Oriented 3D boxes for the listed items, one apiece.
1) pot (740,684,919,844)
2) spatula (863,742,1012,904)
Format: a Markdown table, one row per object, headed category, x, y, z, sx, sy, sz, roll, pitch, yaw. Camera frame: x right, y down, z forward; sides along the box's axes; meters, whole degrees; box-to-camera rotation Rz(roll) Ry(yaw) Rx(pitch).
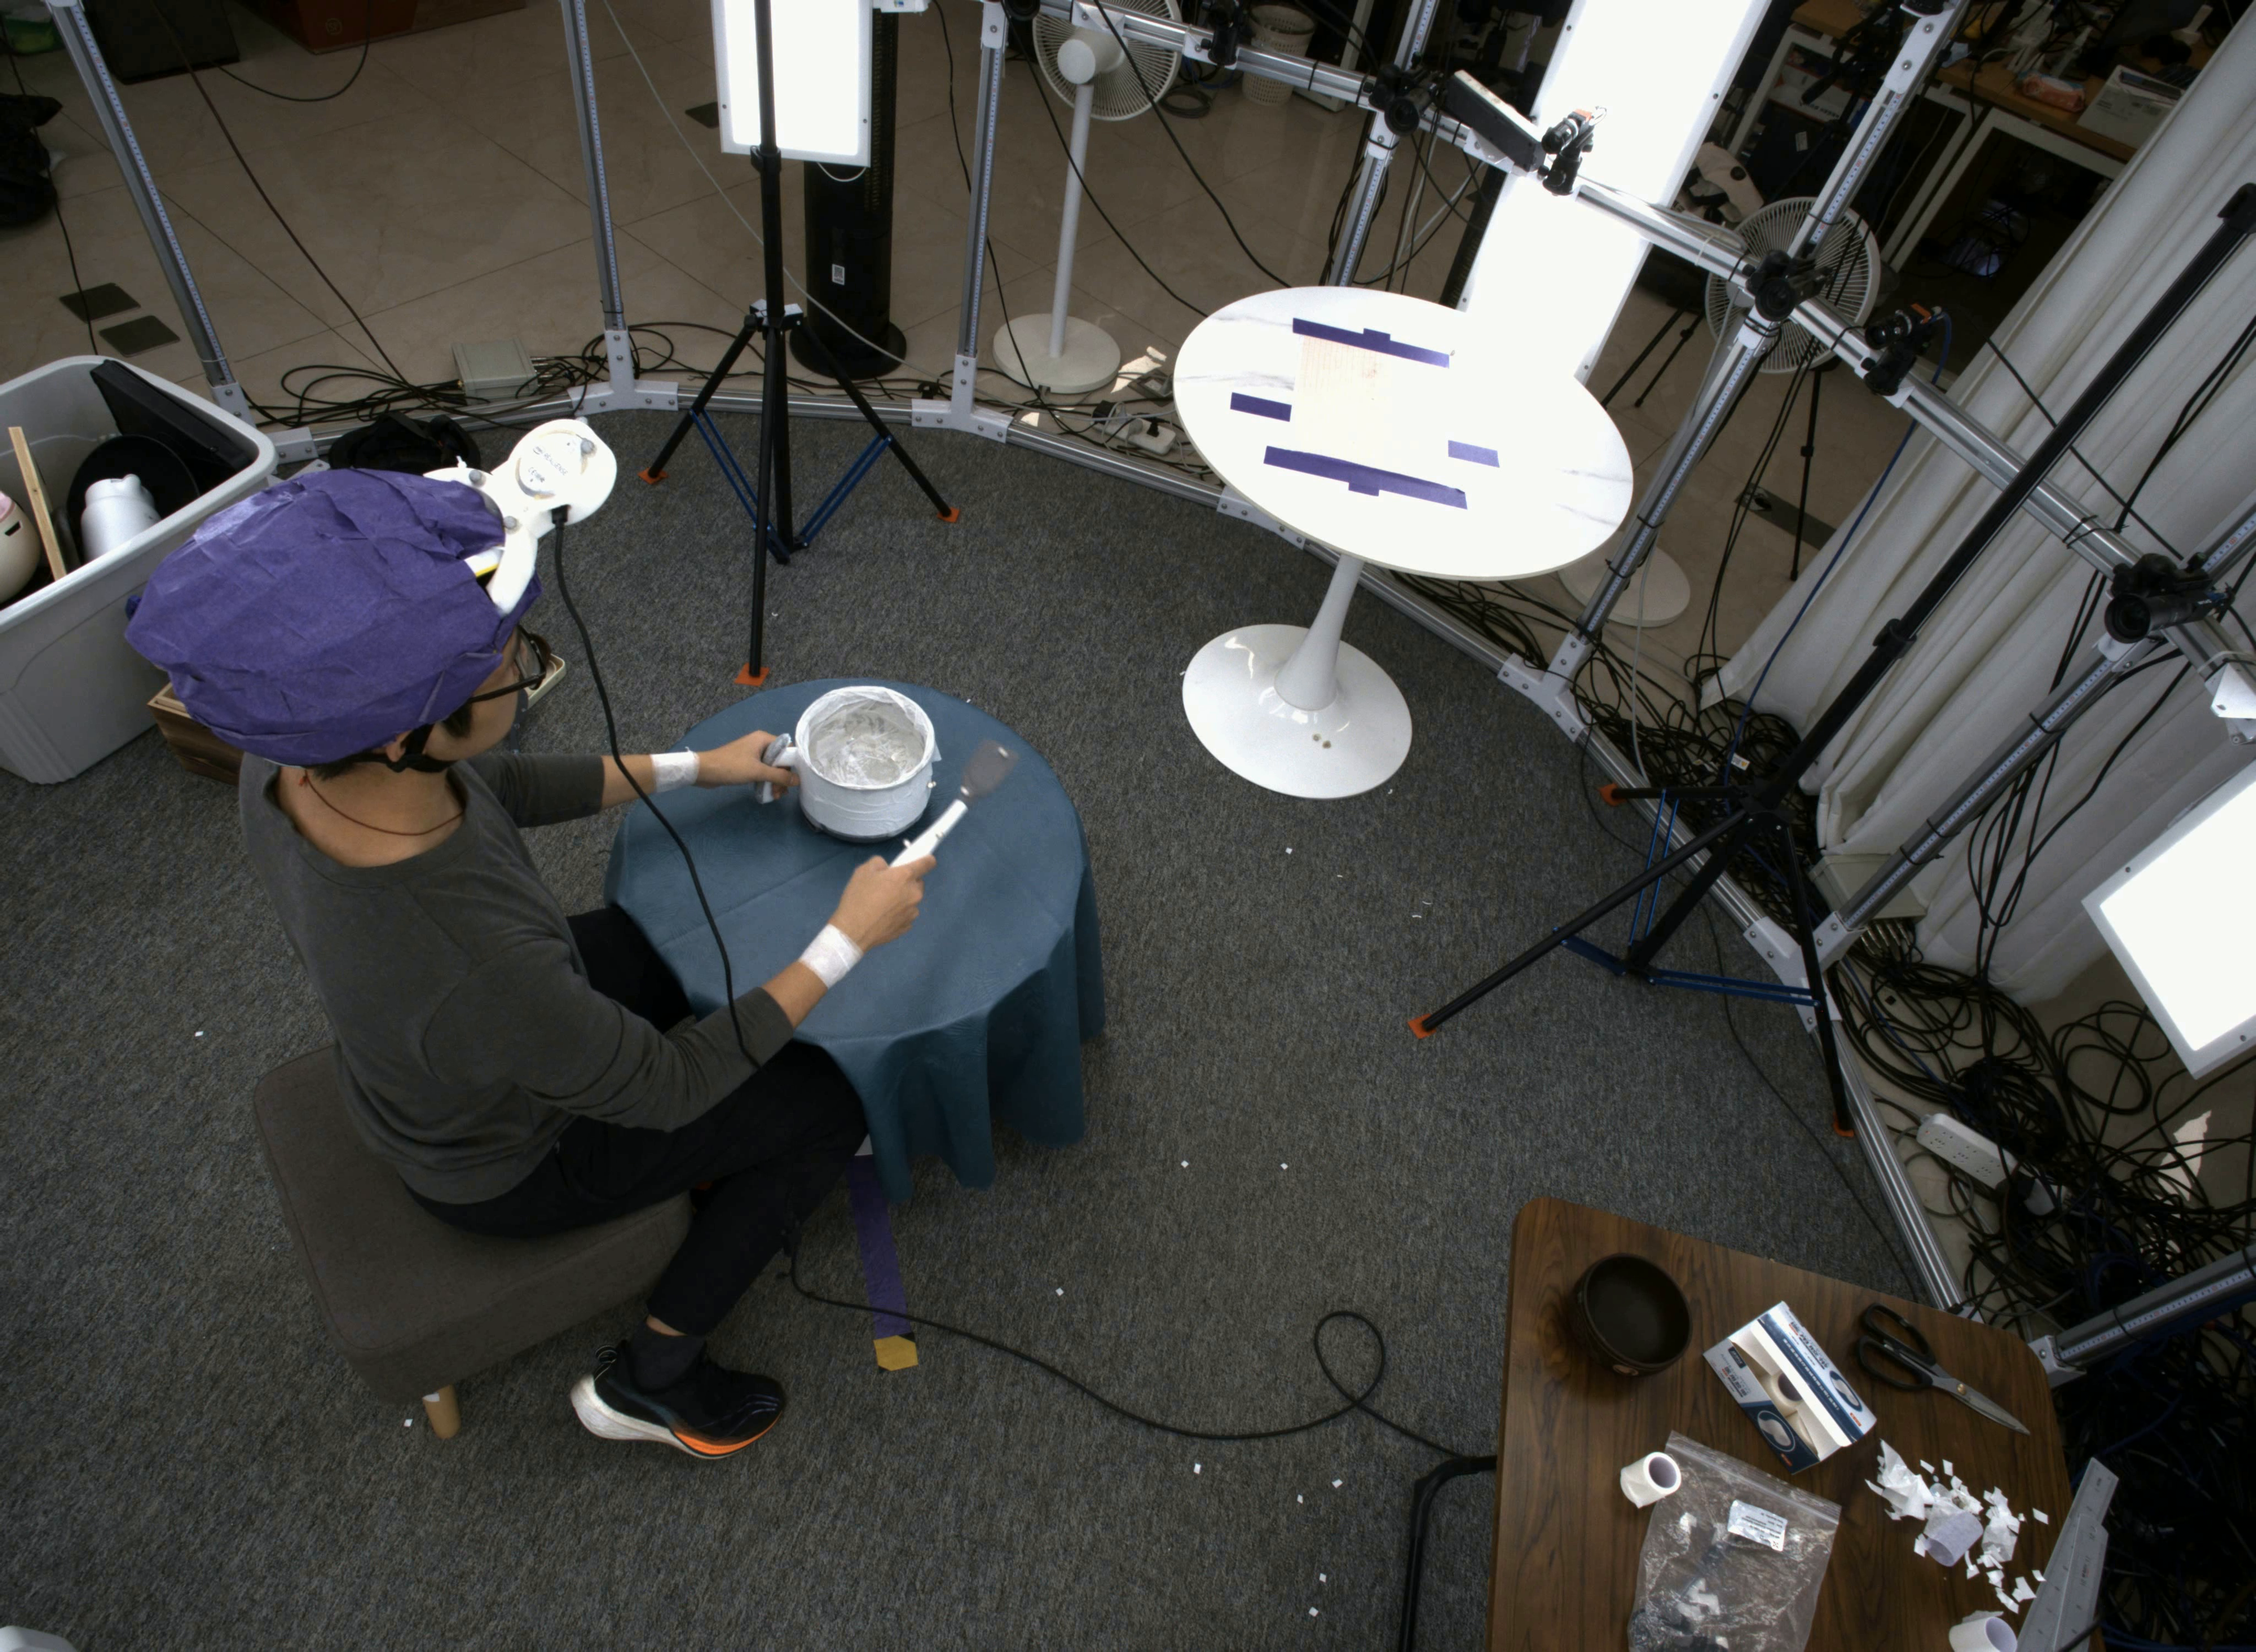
| category | x | y | z | sx | sy | sz | roll | pitch | yaw |
| --- | --- | --- | --- | --- | --- | --- | --- | --- | --- |
| pot | -0.394 | -0.075 | 1.709 | 0.234 | 0.139 | 0.174 | -5 | 54 | -17 |
| spatula | -0.232 | -0.009 | 1.587 | 0.057 | 0.033 | 0.286 | 26 | 46 | 10 |
